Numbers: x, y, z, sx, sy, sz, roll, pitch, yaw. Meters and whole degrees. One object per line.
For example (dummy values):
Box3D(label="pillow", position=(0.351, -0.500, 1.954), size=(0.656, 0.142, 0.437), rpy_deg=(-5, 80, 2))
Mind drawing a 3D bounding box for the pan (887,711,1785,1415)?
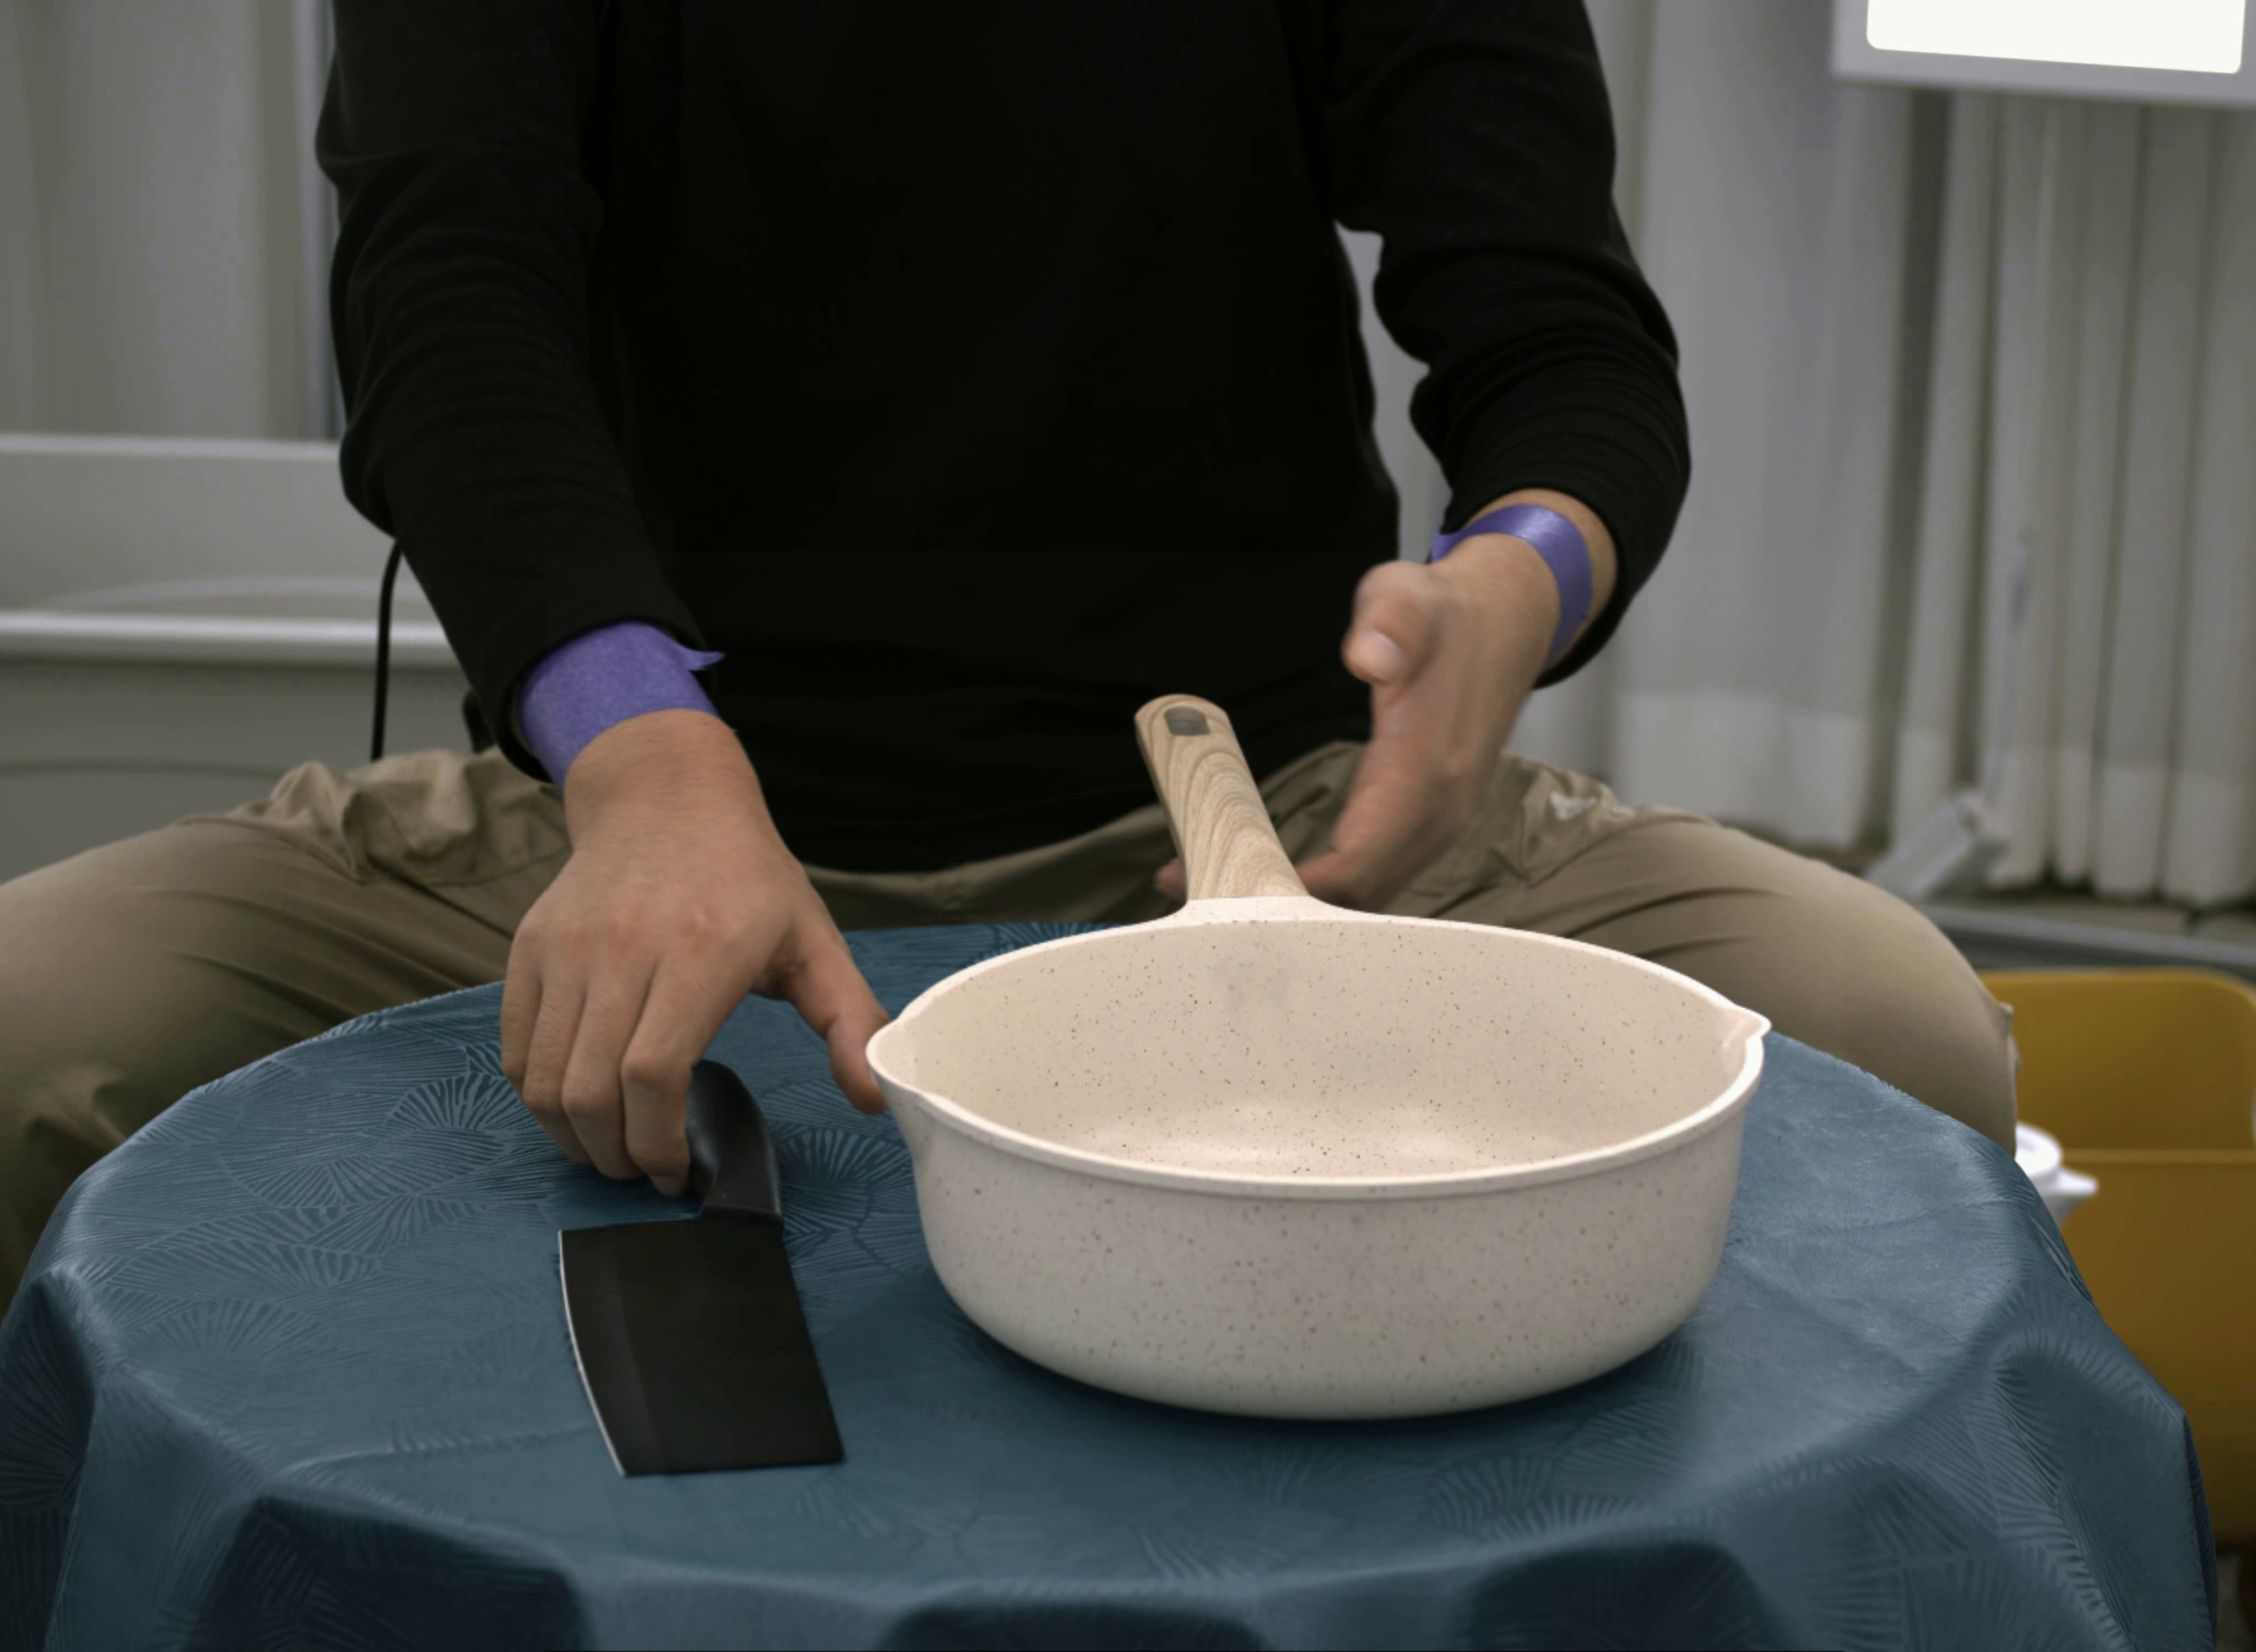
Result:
Box3D(label="pan", position=(0.048, 0.066, 1.604), size=(0.263, 0.103, 0.431), rpy_deg=(-4, 16, -8))

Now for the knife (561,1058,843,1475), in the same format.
Box3D(label="knife", position=(-0.127, 0.127, 1.541), size=(0.081, 0.021, 0.300), rpy_deg=(-1, 18, -4))
